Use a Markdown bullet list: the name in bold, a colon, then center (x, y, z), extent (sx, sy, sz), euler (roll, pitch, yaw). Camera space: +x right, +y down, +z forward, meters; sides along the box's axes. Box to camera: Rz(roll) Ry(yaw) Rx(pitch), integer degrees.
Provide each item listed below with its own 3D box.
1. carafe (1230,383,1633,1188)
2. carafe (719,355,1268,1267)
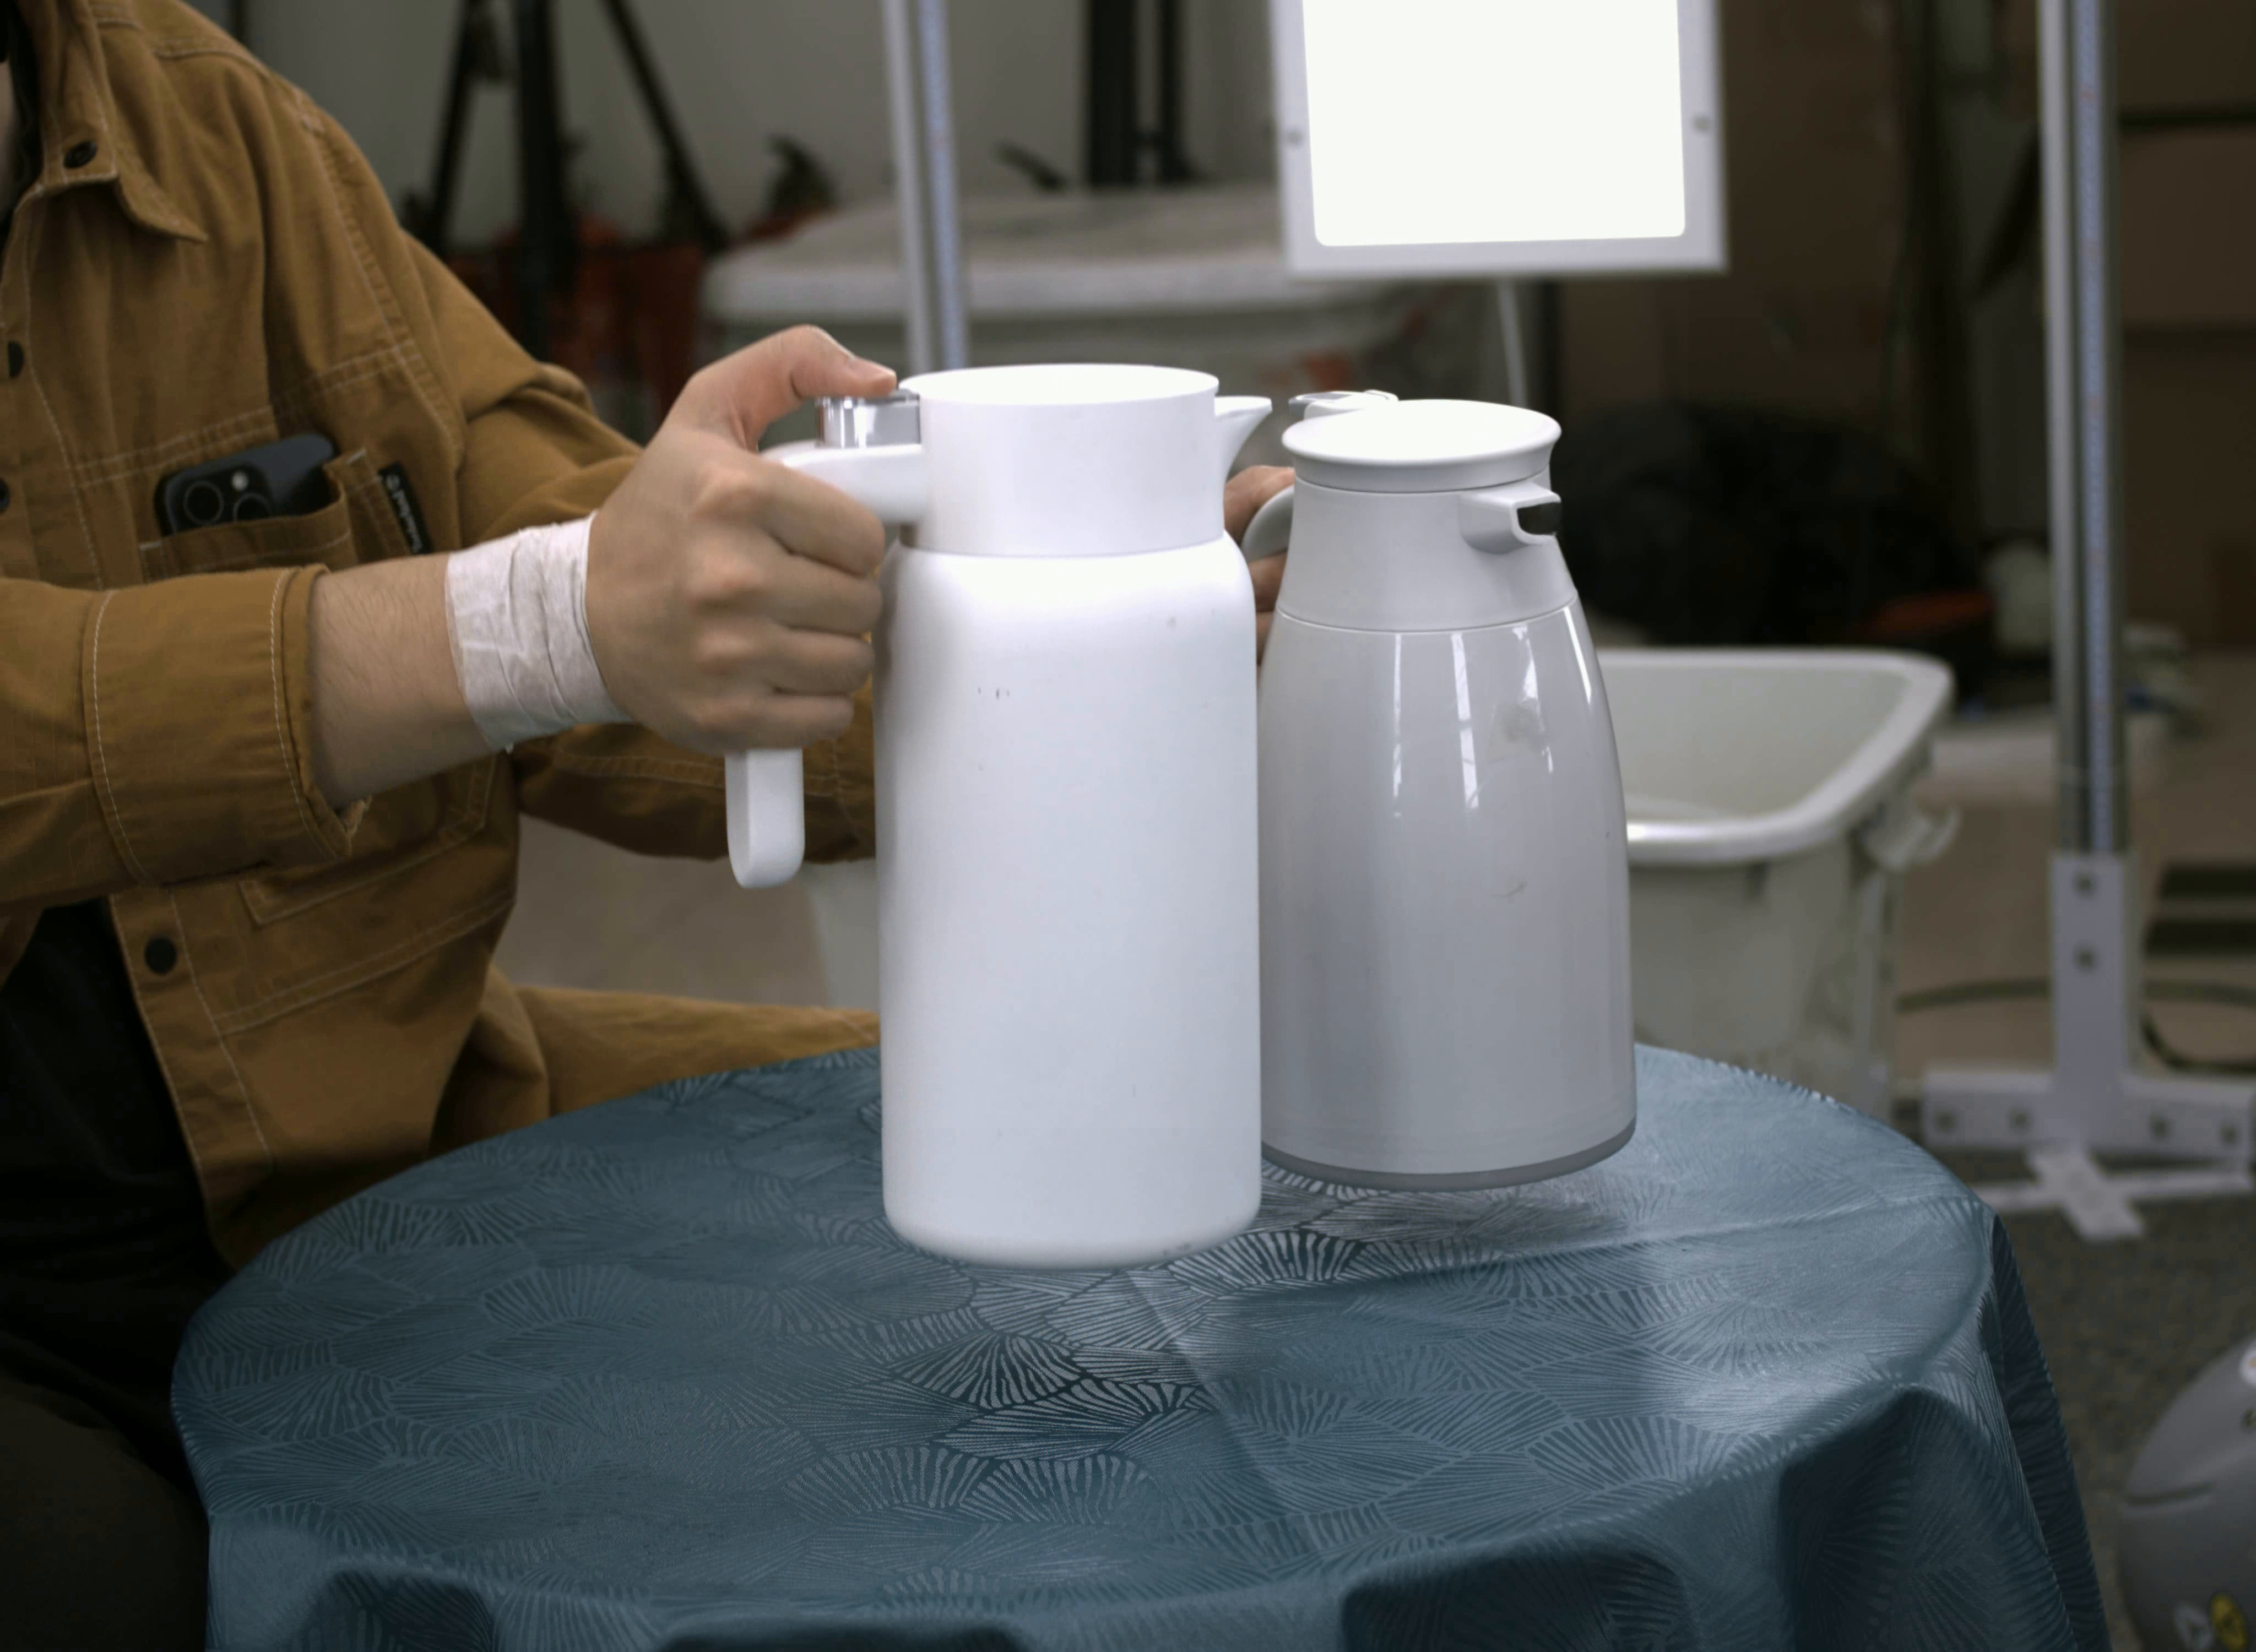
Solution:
- **carafe**: center (0.088, -0.021, 1.831), extent (0.129, 0.249, 0.171), euler (-13, 17, -32)
- **carafe**: center (-0.036, -0.005, 1.669), extent (0.170, 0.270, 0.125), euler (-5, 14, -18)
